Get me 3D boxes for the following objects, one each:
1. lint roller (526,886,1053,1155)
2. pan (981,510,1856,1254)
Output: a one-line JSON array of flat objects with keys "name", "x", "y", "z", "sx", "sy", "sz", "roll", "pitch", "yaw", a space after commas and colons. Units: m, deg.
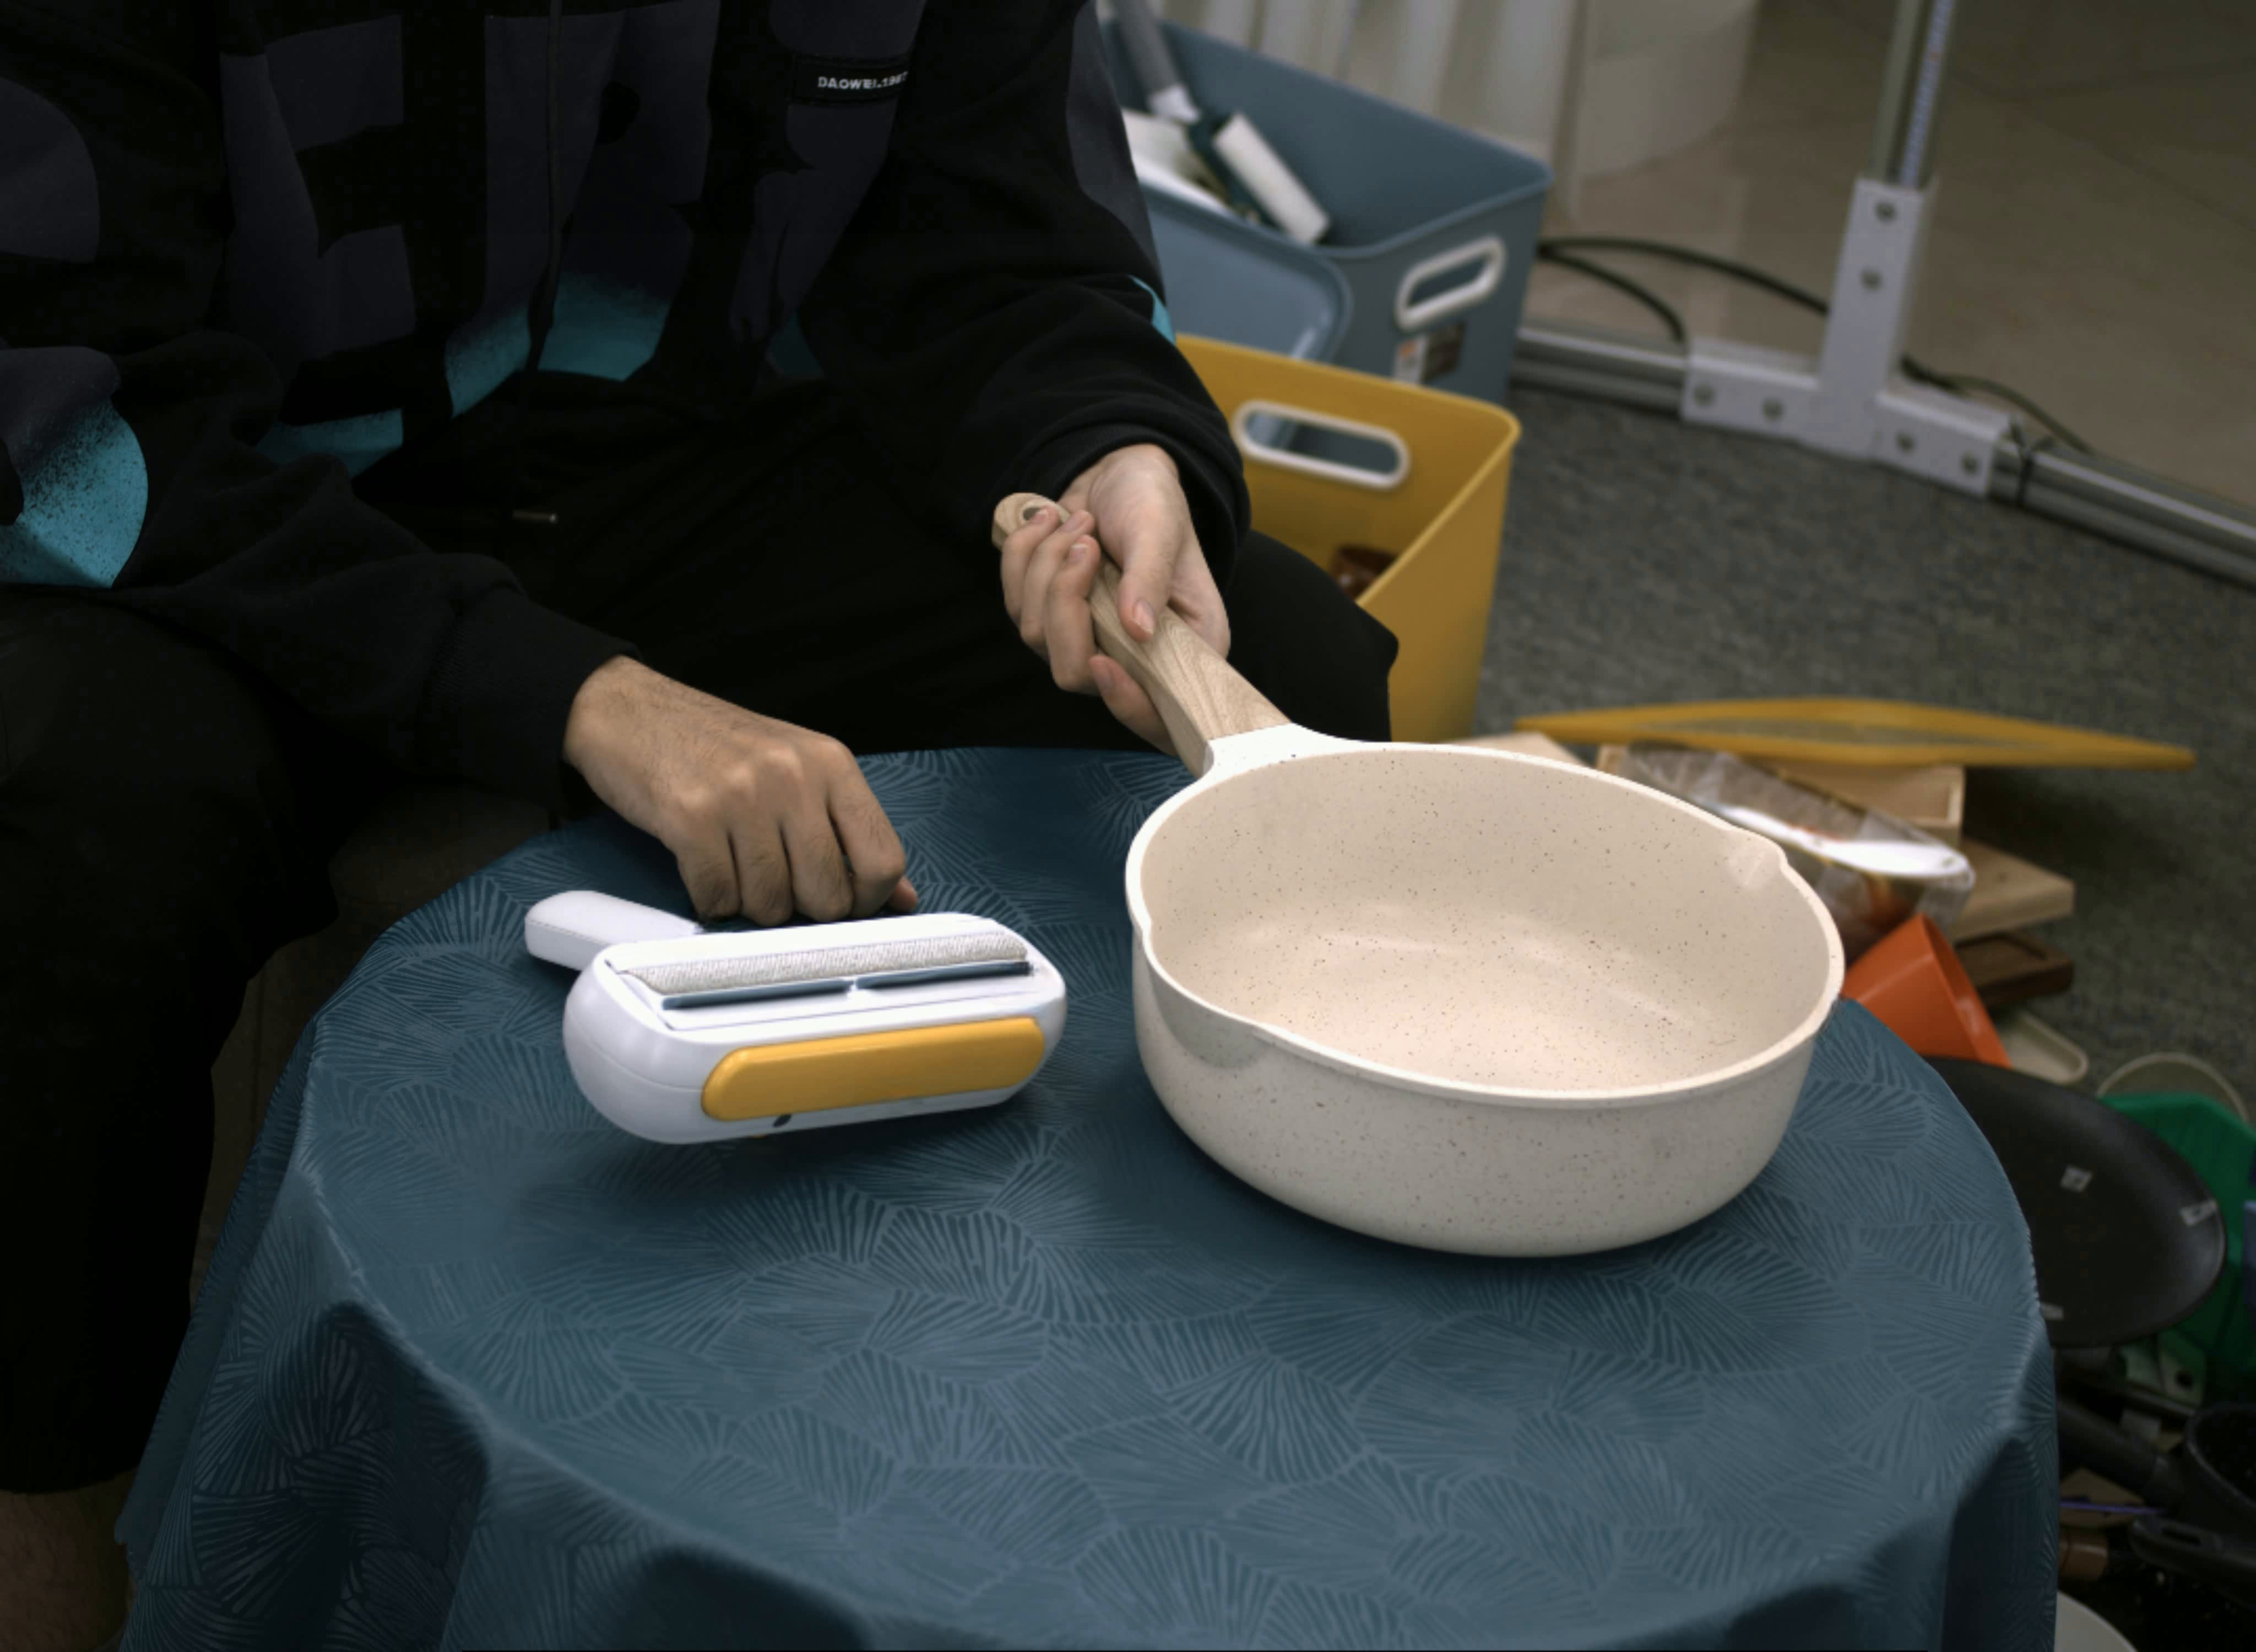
[{"name": "lint roller", "x": -0.146, "y": 0.051, "z": 1.834, "sx": 0.191, "sy": 0.074, "sz": 0.194, "roll": -7, "pitch": 28, "yaw": -36}, {"name": "pan", "x": 0.072, "y": 0.016, "z": 1.916, "sx": 0.262, "sy": 0.101, "sz": 0.439, "roll": -15, "pitch": 34, "yaw": -31}]
